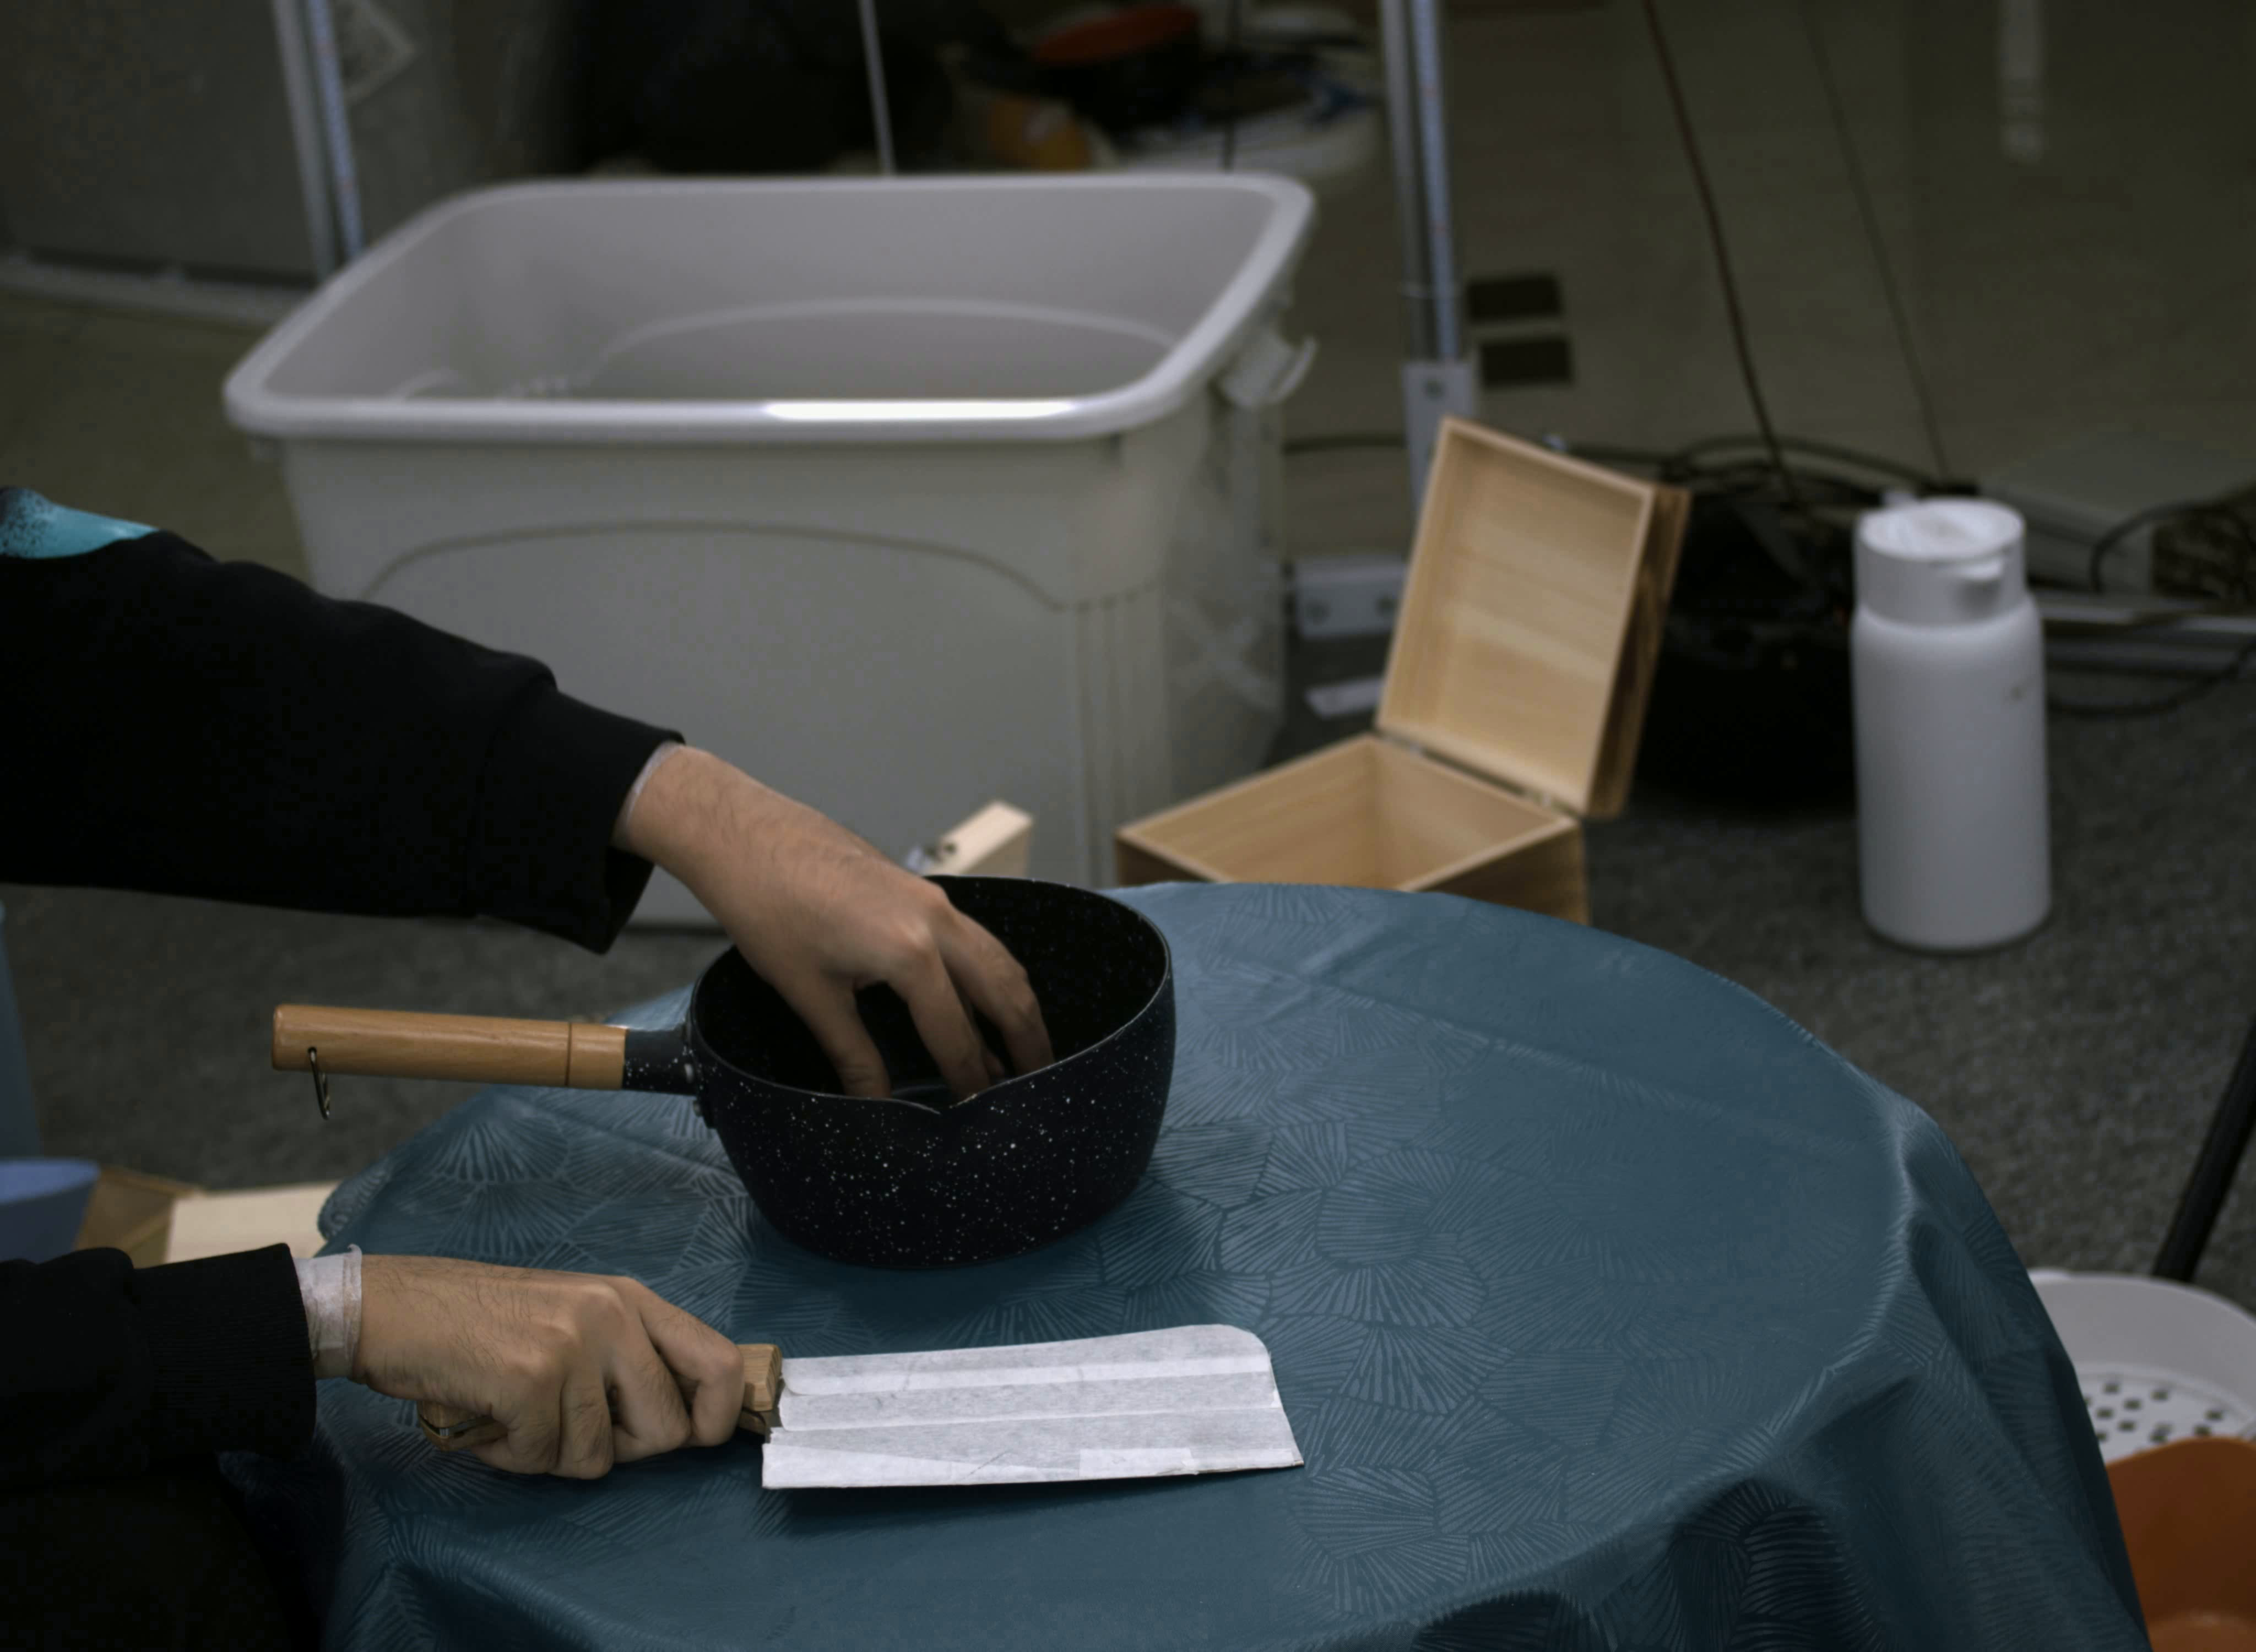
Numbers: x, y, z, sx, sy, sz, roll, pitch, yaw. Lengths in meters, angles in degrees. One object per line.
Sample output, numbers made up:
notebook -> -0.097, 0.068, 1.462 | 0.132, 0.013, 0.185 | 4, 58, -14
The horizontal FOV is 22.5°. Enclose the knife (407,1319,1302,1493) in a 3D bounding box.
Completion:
knife -> -0.097, 0.204, 1.998 | 0.315, 0.022, 0.112 | -1, 25, 1

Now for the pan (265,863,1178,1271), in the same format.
pan -> -0.150, 0.096, 2.144 | 0.342, 0.110, 0.204 | -7, 26, -4
